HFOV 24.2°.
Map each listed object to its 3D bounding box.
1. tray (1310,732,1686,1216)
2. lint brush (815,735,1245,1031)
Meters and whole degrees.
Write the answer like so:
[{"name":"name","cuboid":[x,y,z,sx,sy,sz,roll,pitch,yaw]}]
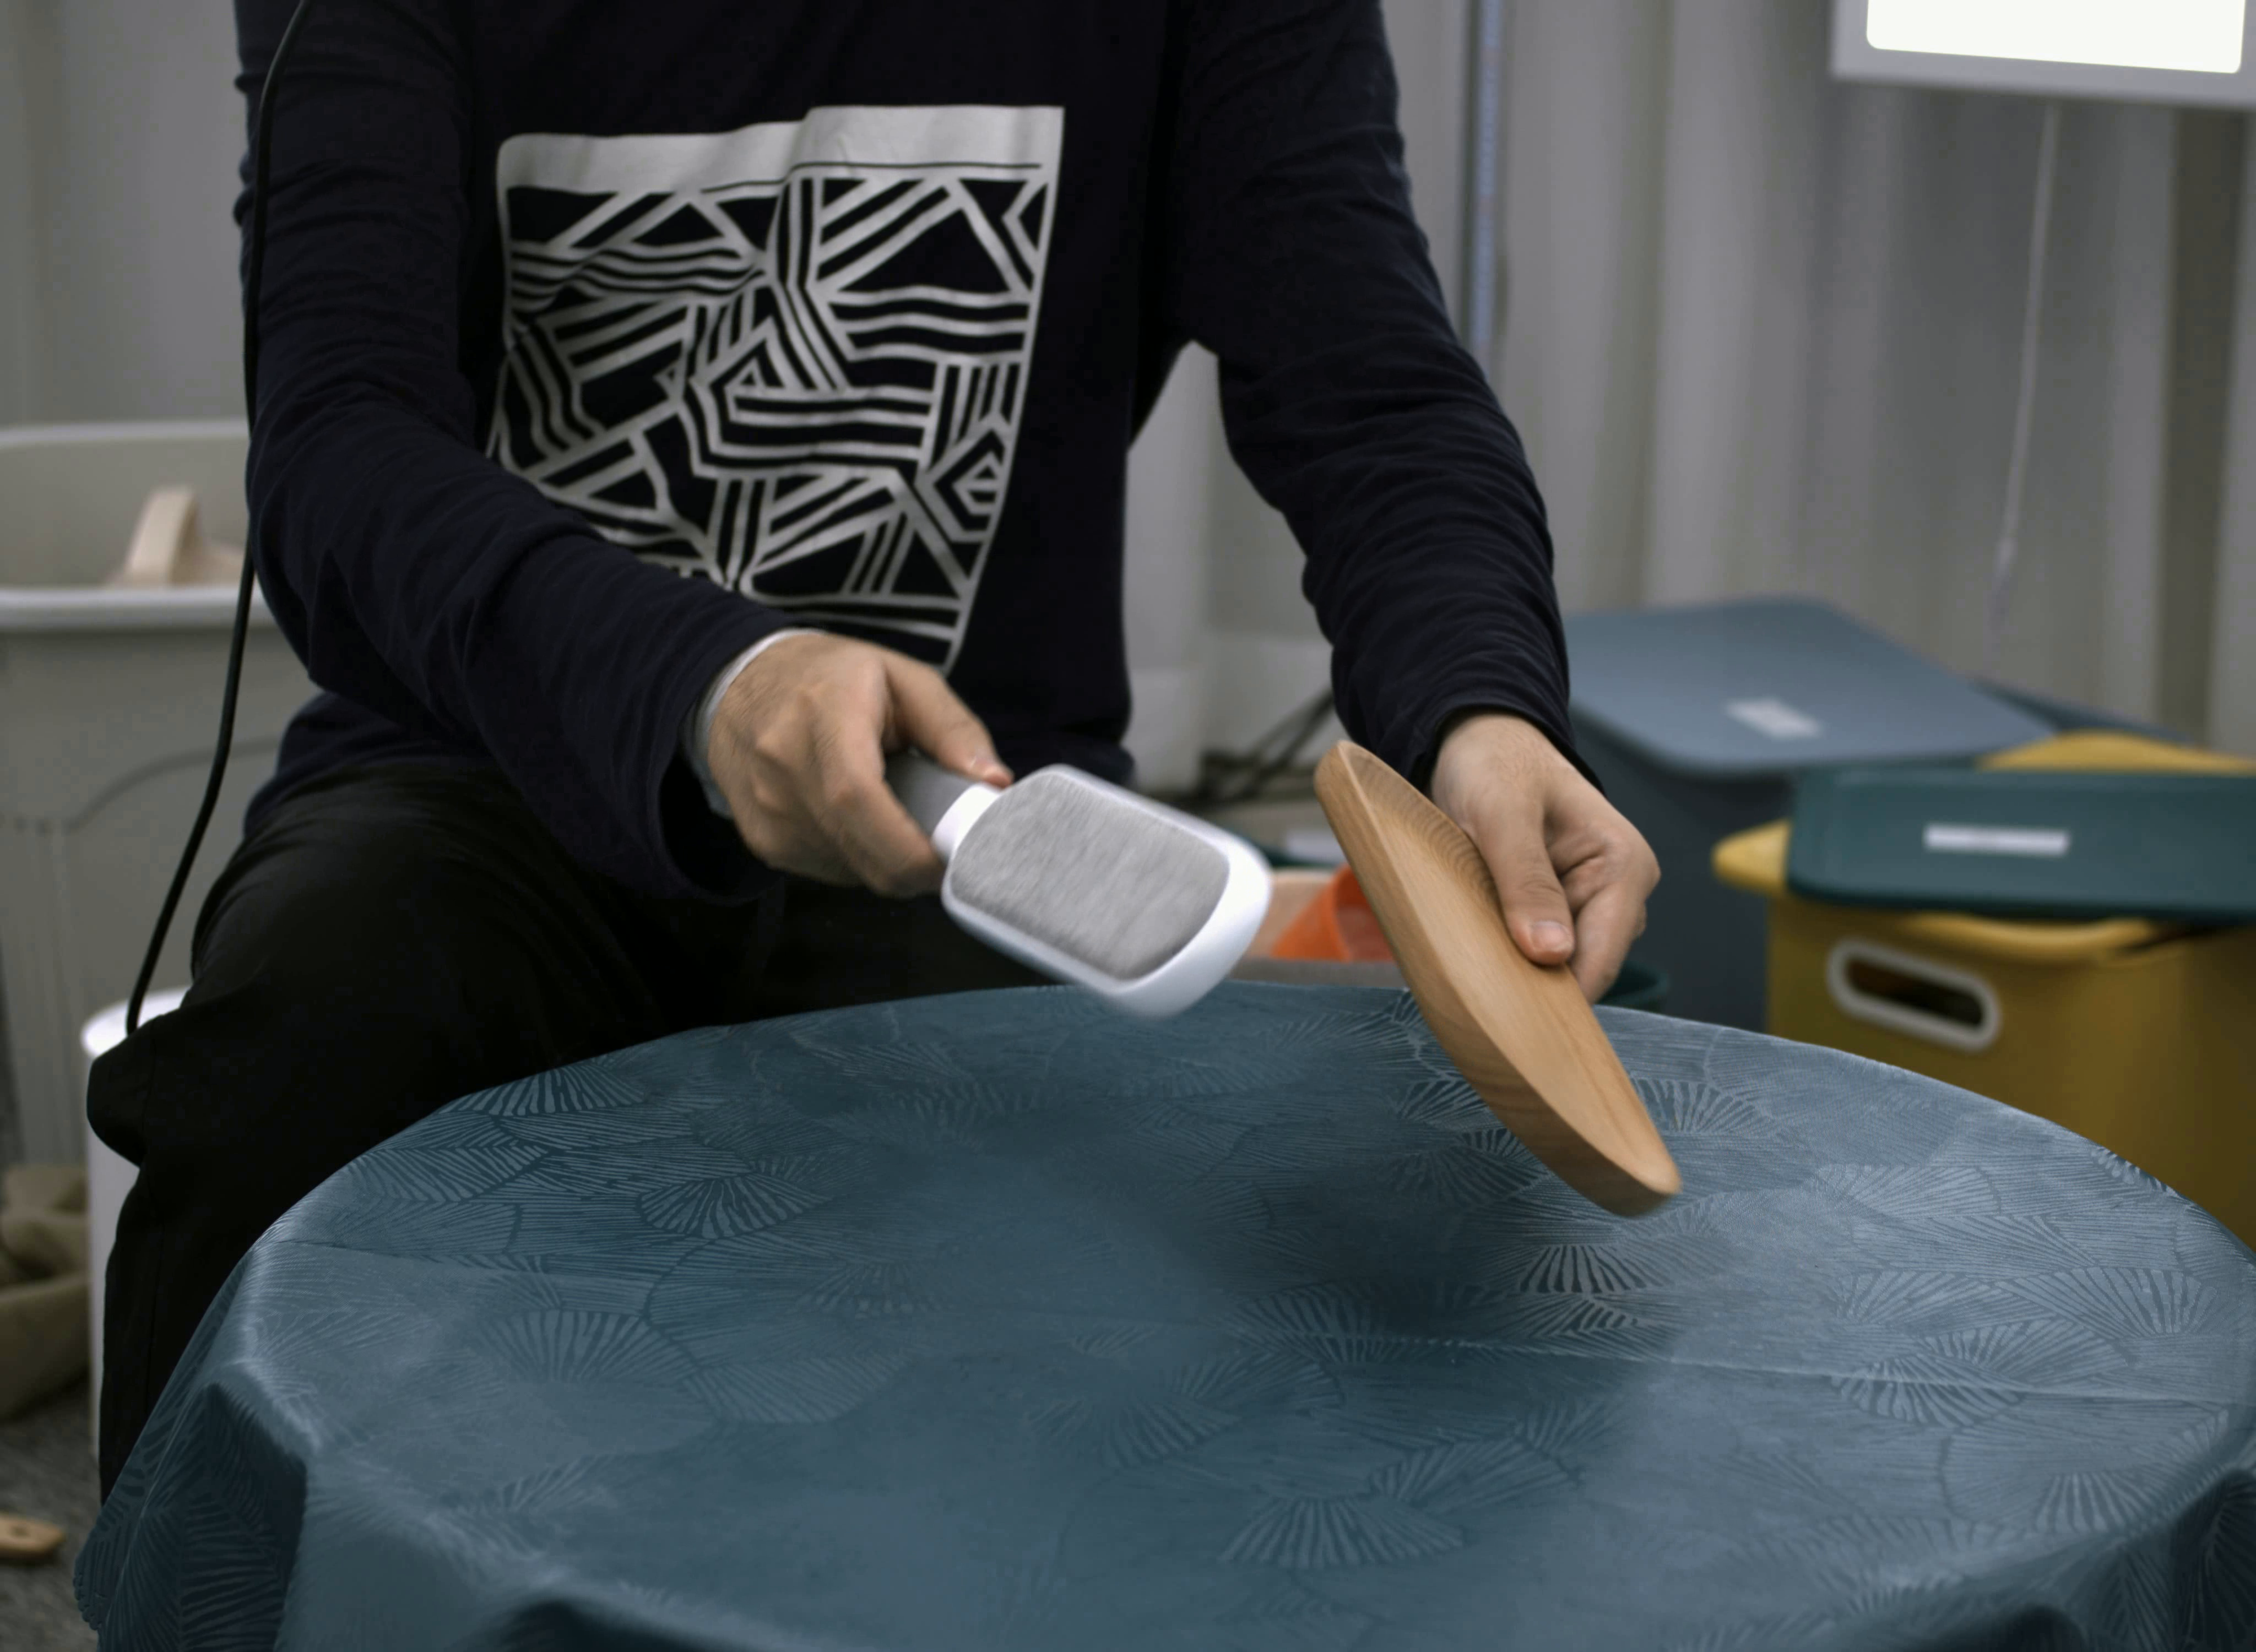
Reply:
[{"name":"tray","cuboid":[0.108,0.043,1.582,0.103,0.020,0.228,41,11,-29]},{"name":"lint brush","cuboid":[-0.036,0.008,1.571,0.021,0.060,0.305,37,-5,-24]}]
